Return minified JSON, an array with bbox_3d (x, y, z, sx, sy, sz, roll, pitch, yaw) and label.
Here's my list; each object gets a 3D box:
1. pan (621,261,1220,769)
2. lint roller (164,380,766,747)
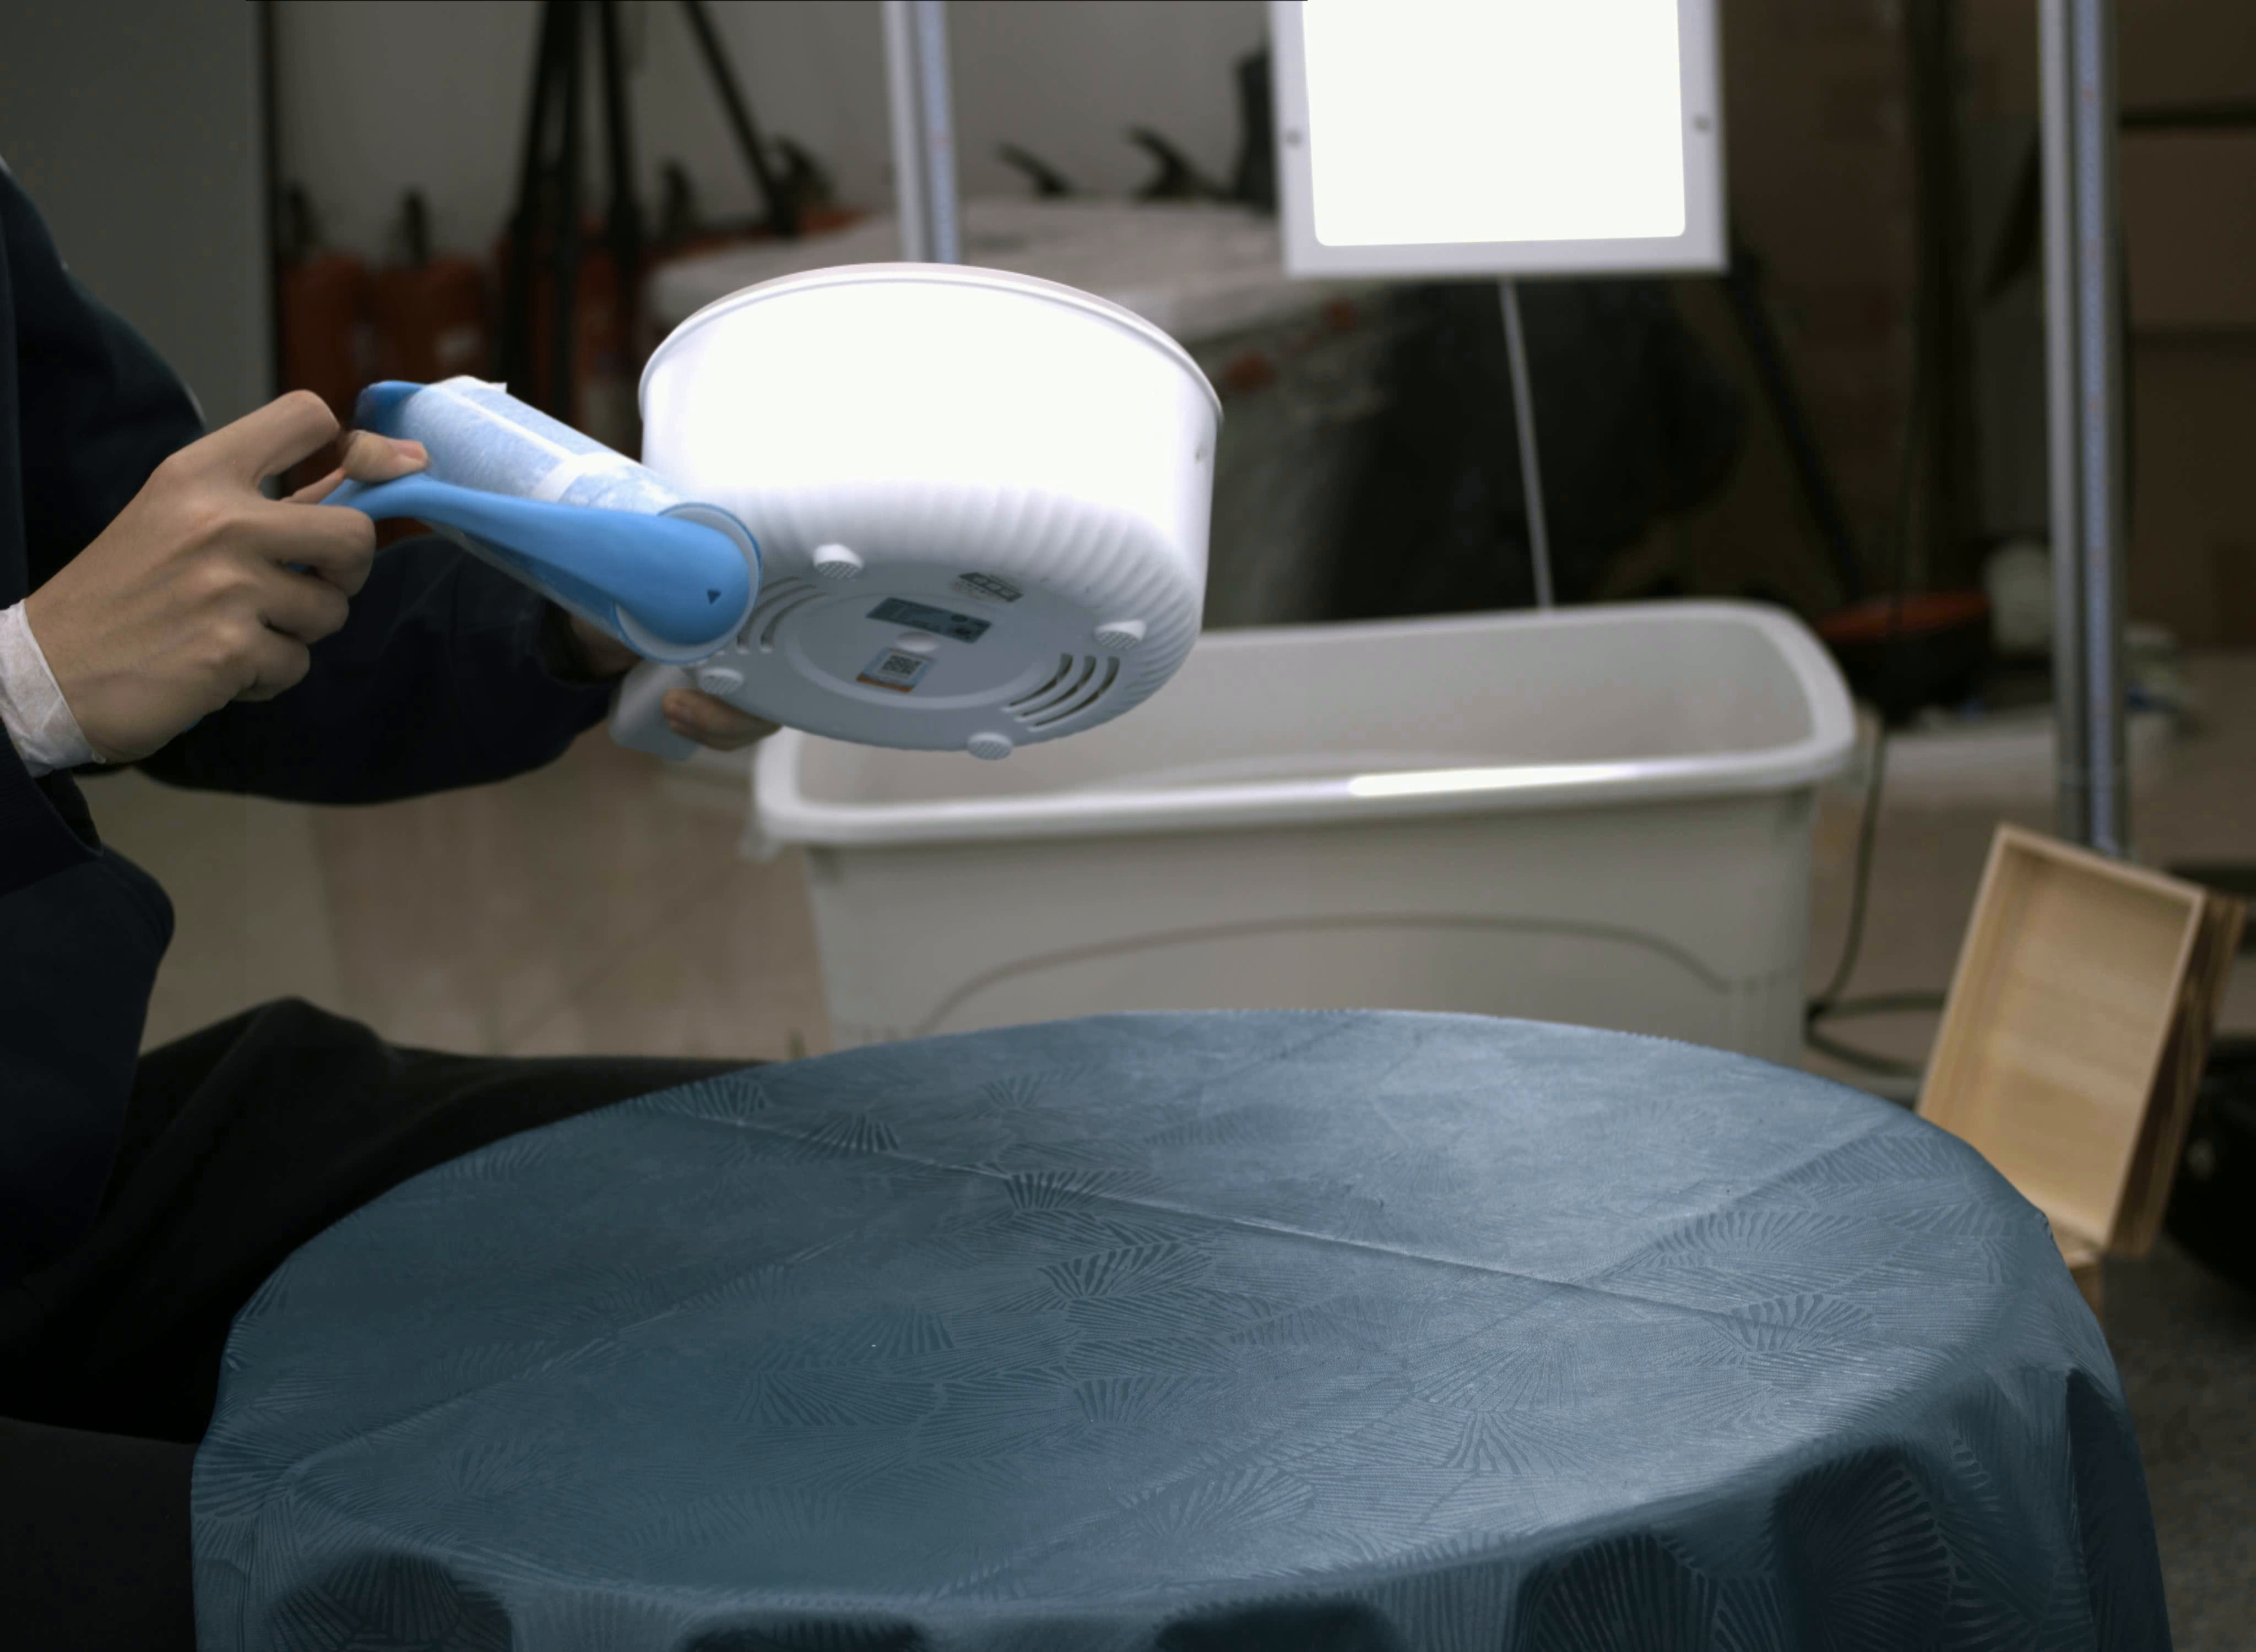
[{"bbox_3d":[-0.102,-0.072,1.936,0.198,0.102,0.361,13,-26,-22],"label":"pan"},{"bbox_3d":[-0.235,-0.084,1.803,0.177,0.068,0.233,-22,27,-25],"label":"lint roller"}]
